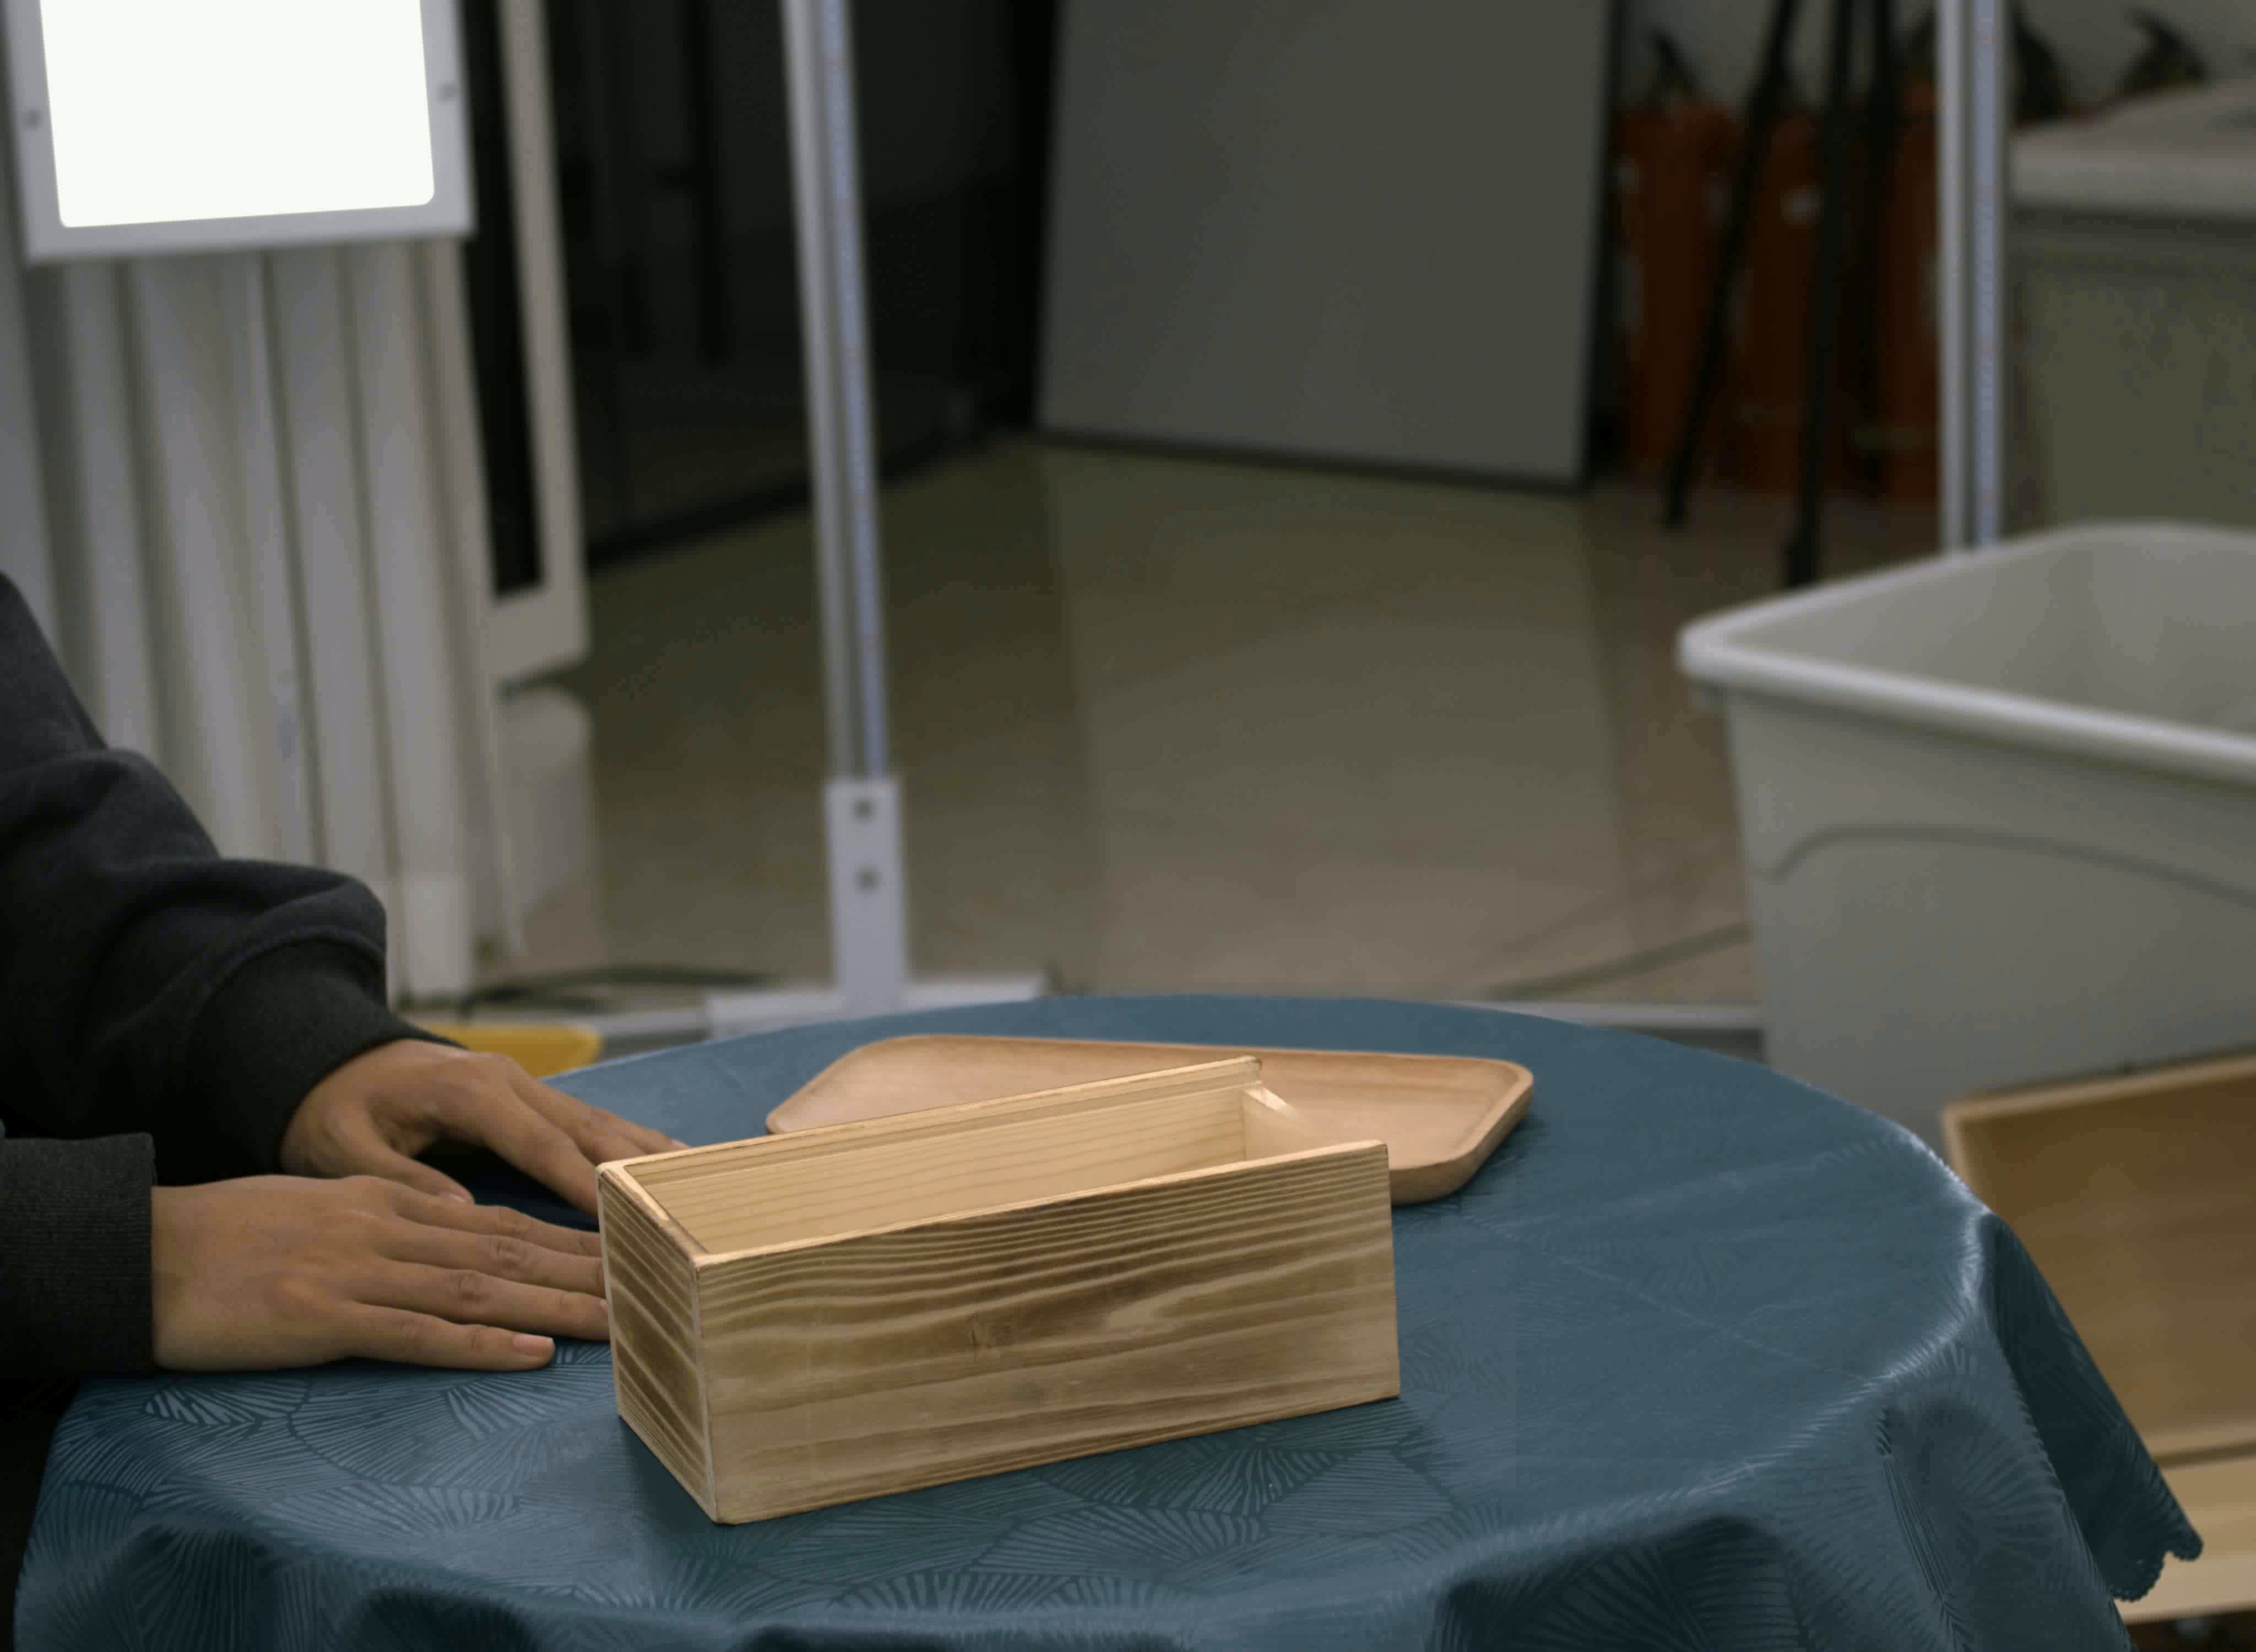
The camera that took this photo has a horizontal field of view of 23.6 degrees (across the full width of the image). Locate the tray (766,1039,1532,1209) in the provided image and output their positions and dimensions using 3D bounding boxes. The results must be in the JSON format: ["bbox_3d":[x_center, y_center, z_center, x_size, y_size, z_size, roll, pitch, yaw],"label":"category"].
[{"bbox_3d":[0.007,0.100,1.819,0.250,0.023,0.129,1,12,21],"label":"tray"}]

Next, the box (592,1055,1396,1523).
[{"bbox_3d":[-0.039,0.131,1.568,0.207,0.081,0.108,-9,14,-18],"label":"box"}]
